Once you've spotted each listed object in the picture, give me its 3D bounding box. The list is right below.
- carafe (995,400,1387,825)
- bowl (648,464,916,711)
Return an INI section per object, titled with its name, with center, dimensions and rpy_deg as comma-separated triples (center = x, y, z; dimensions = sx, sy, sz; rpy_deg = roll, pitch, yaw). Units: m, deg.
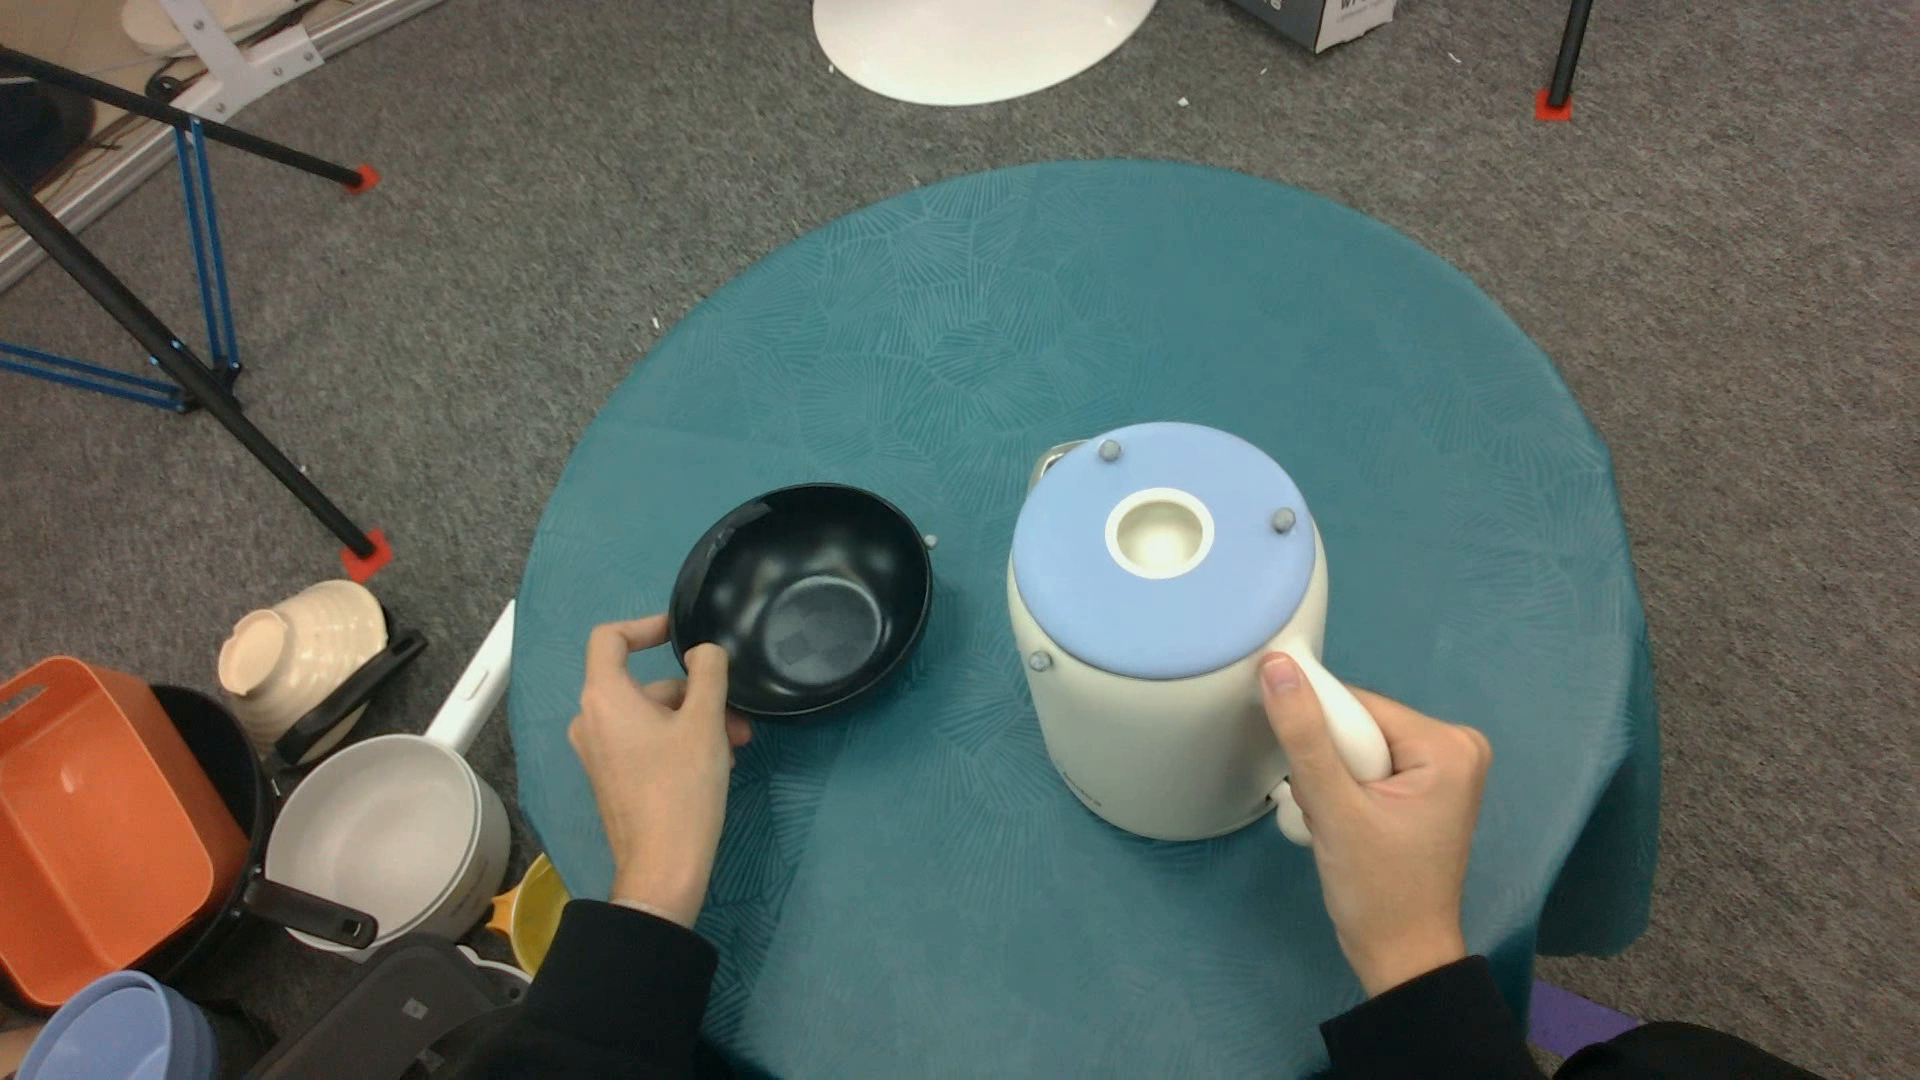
[carafe]
center = 0.103, 0.050, 0.599
dimensions = 0.132, 0.182, 0.191
rpy_deg = -42, 63, -15
[bowl]
center = -0.088, 0.031, 0.717
dimensions = 0.140, 0.049, 0.140
rpy_deg = -4, 59, 7
